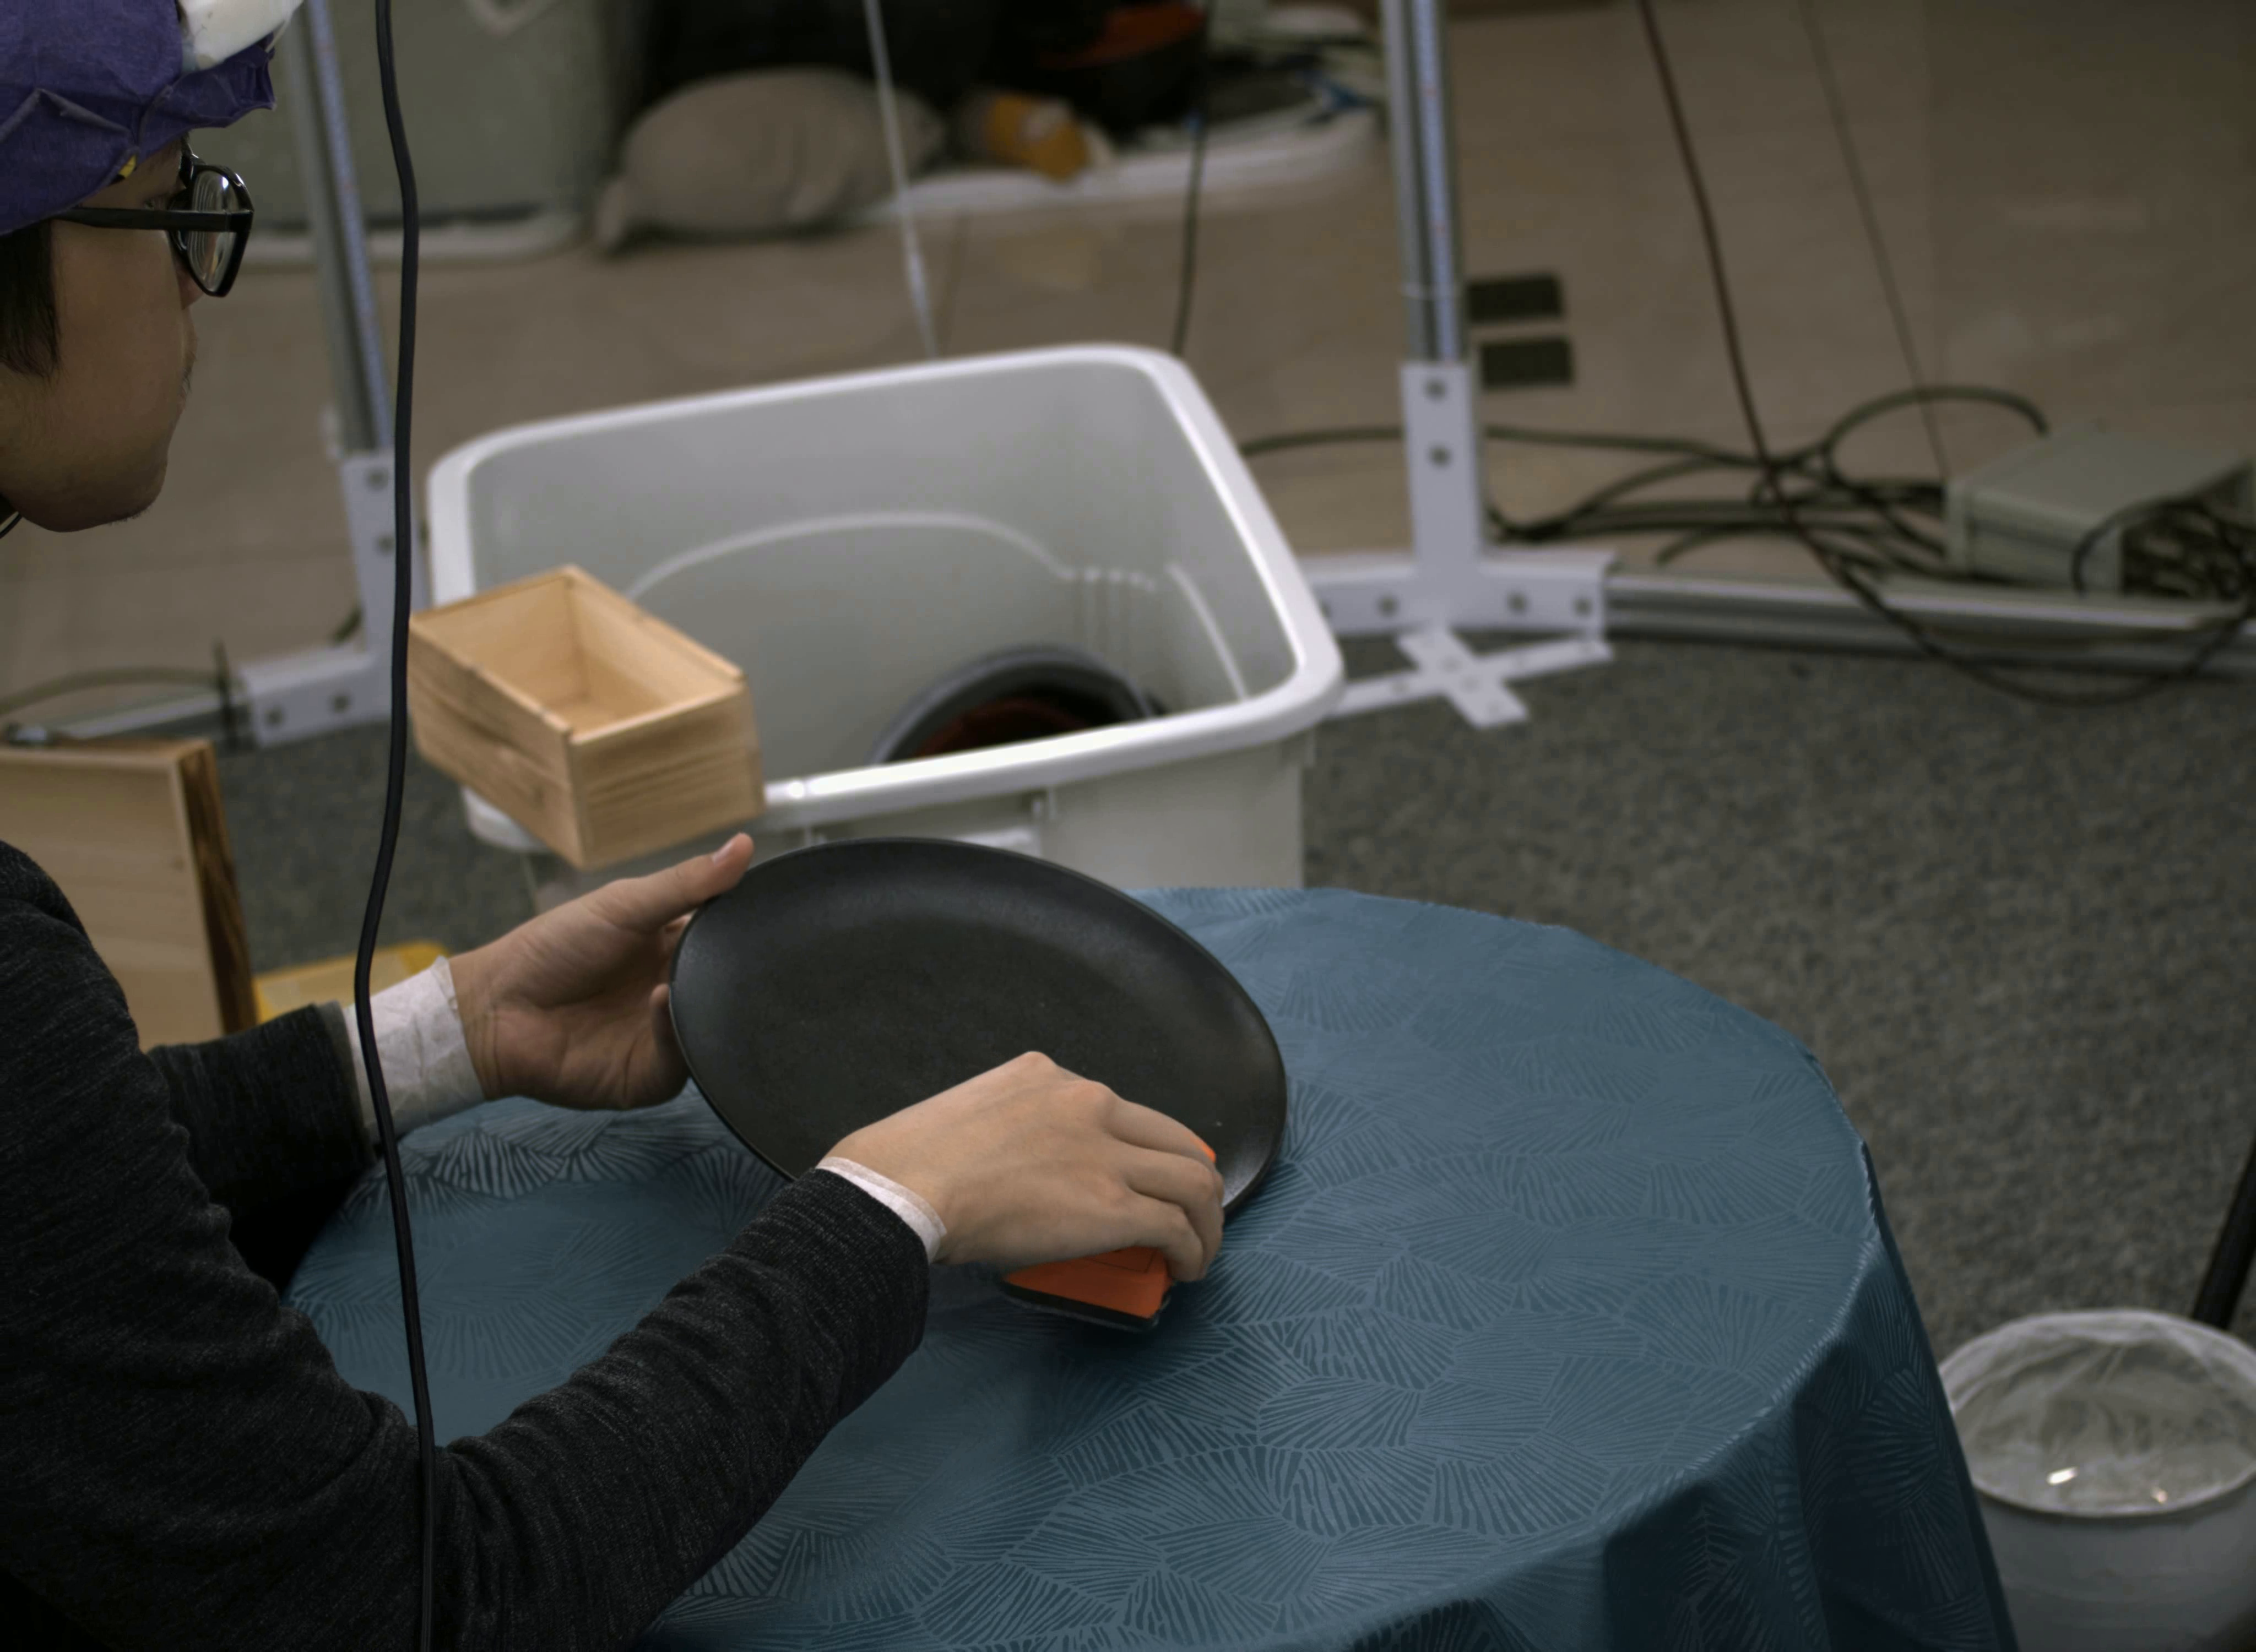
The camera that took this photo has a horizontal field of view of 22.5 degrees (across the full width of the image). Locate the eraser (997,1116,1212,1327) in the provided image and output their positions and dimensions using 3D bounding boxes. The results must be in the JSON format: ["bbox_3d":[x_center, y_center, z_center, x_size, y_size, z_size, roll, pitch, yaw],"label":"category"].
[{"bbox_3d":[-0.008,0.144,2.076,0.059,0.023,0.106,13,27,9],"label":"eraser"}]

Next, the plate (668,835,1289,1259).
[{"bbox_3d":[-0.058,0.088,2.161,0.244,0.024,0.240,11,37,-9],"label":"plate"}]
